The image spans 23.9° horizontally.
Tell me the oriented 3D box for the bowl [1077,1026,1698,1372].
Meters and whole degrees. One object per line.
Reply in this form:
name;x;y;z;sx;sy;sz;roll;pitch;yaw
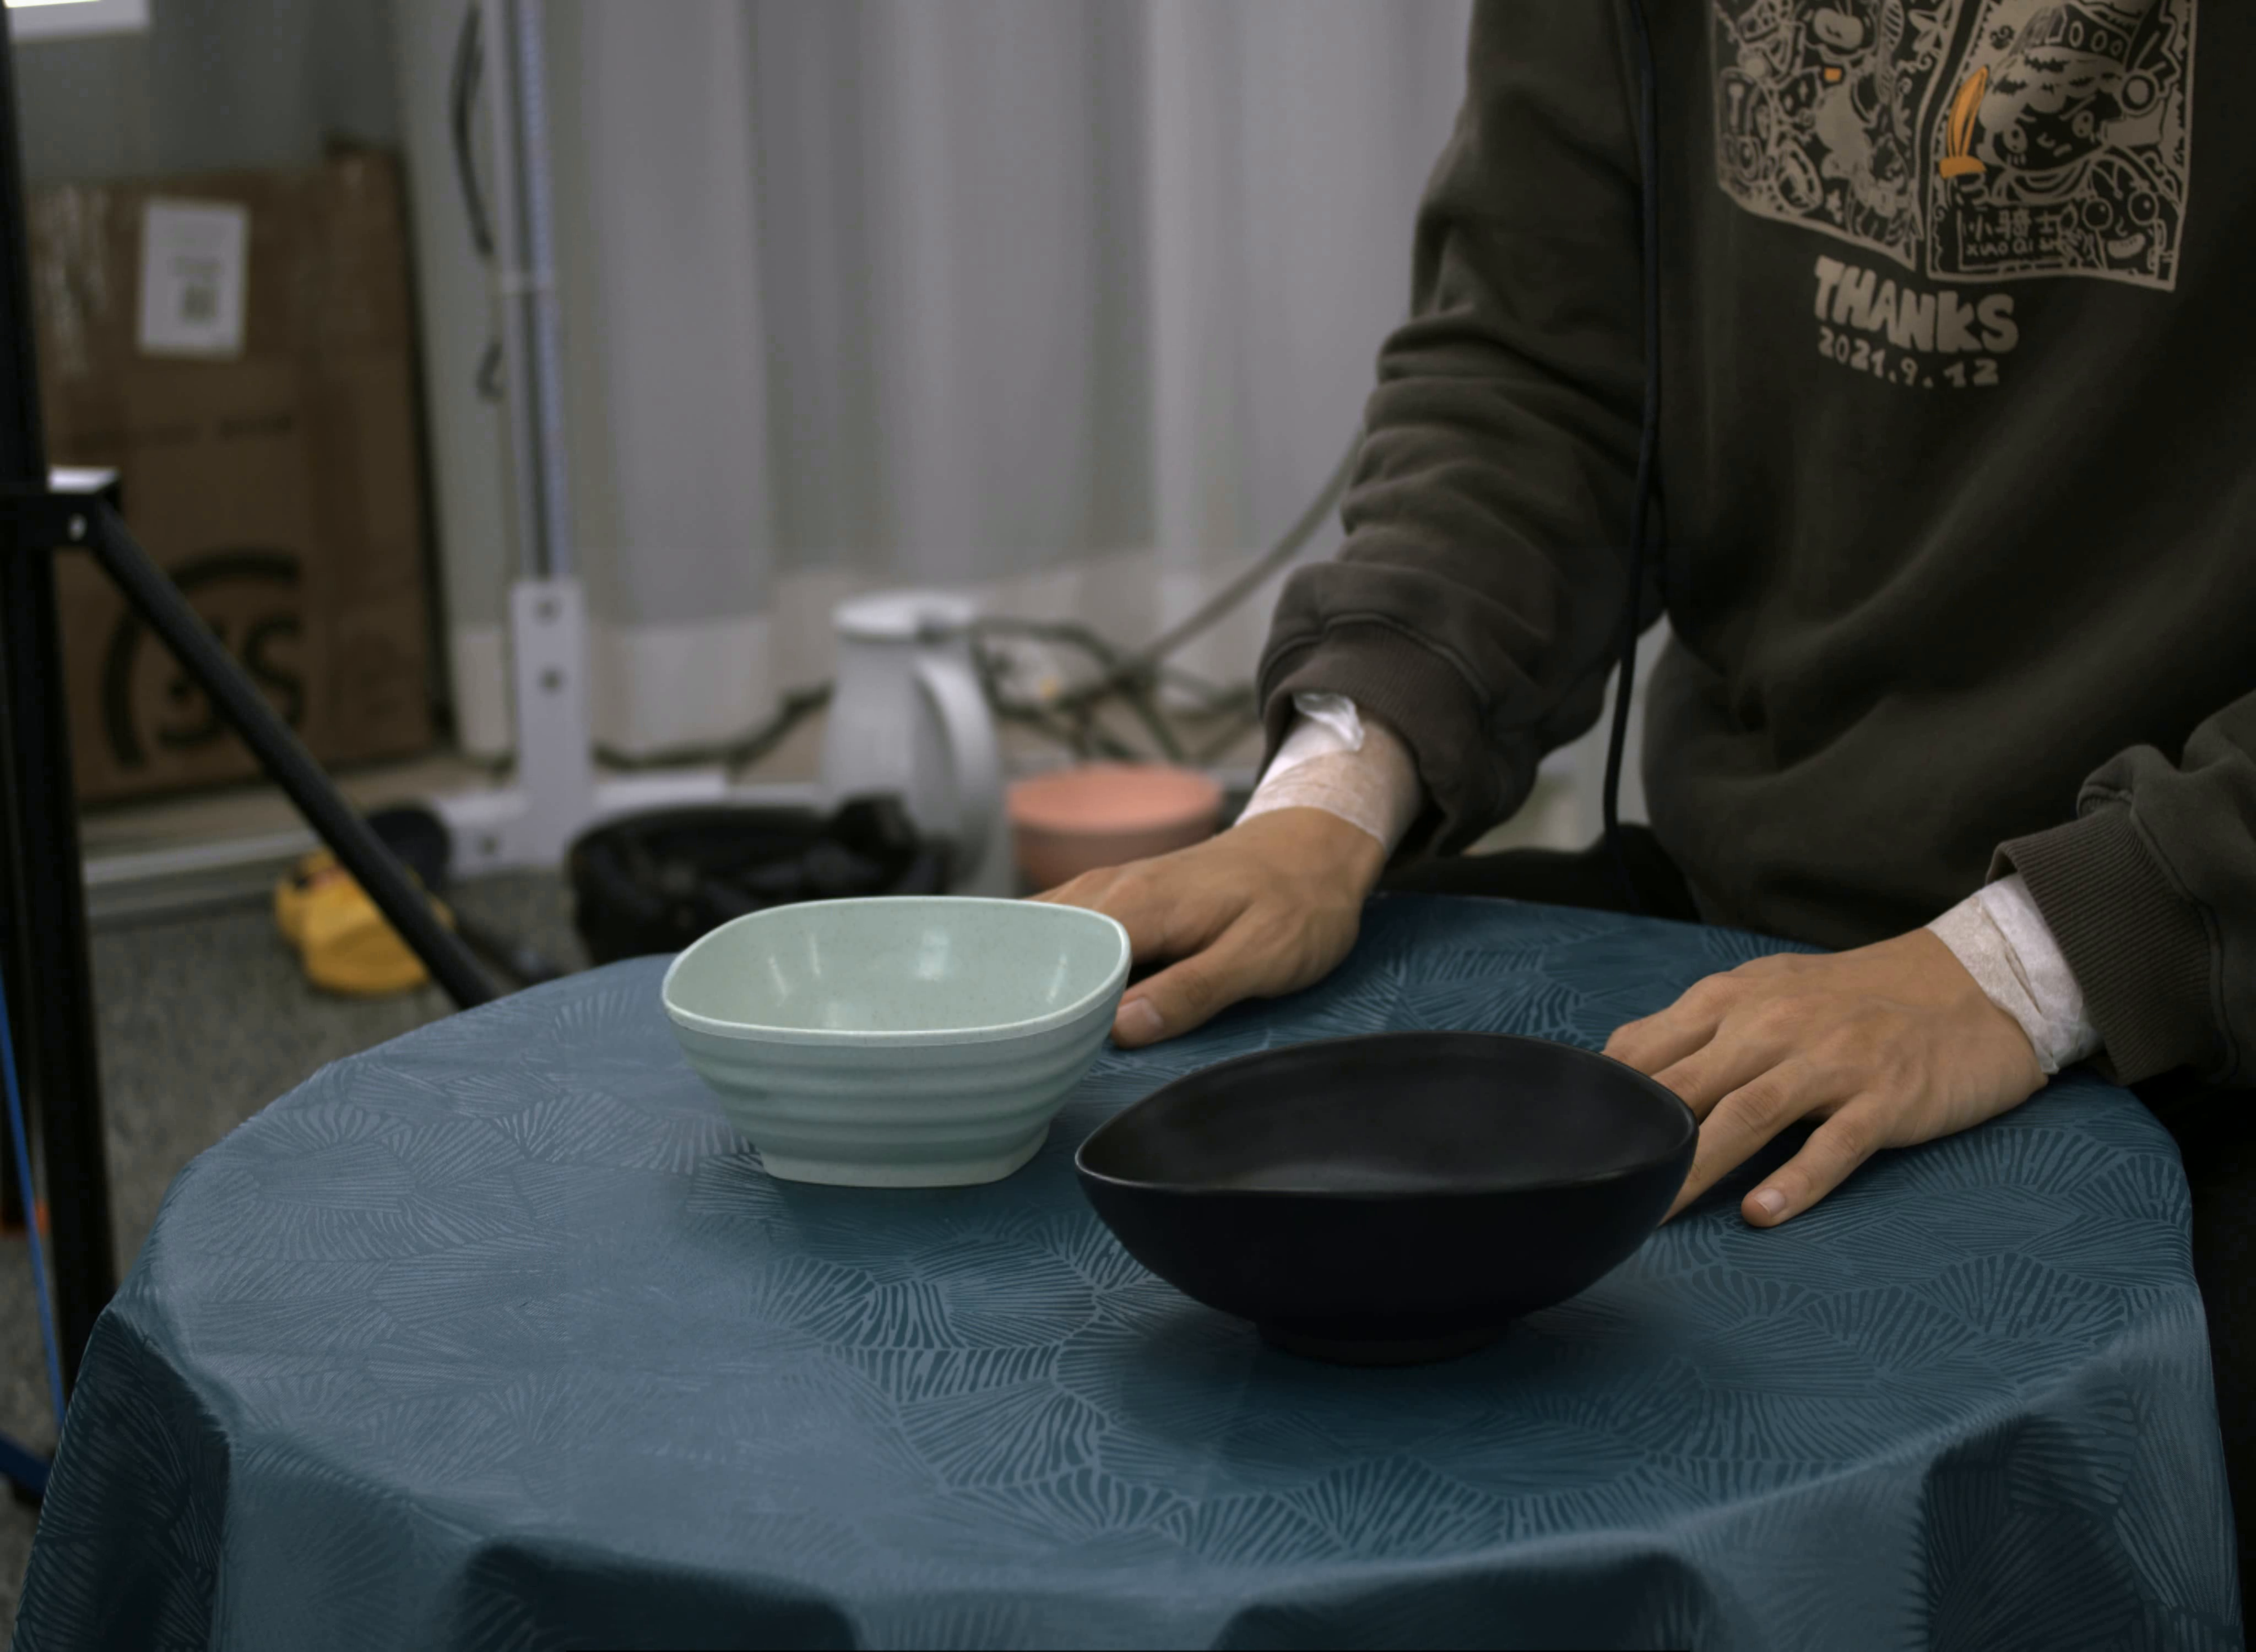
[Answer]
bowl;0.070;0.107;1.438;0.171;0.066;0.137;-1;15;9

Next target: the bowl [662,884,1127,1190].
bowl;-0.068;0.067;1.611;0.151;0.058;0.152;-4;18;0
